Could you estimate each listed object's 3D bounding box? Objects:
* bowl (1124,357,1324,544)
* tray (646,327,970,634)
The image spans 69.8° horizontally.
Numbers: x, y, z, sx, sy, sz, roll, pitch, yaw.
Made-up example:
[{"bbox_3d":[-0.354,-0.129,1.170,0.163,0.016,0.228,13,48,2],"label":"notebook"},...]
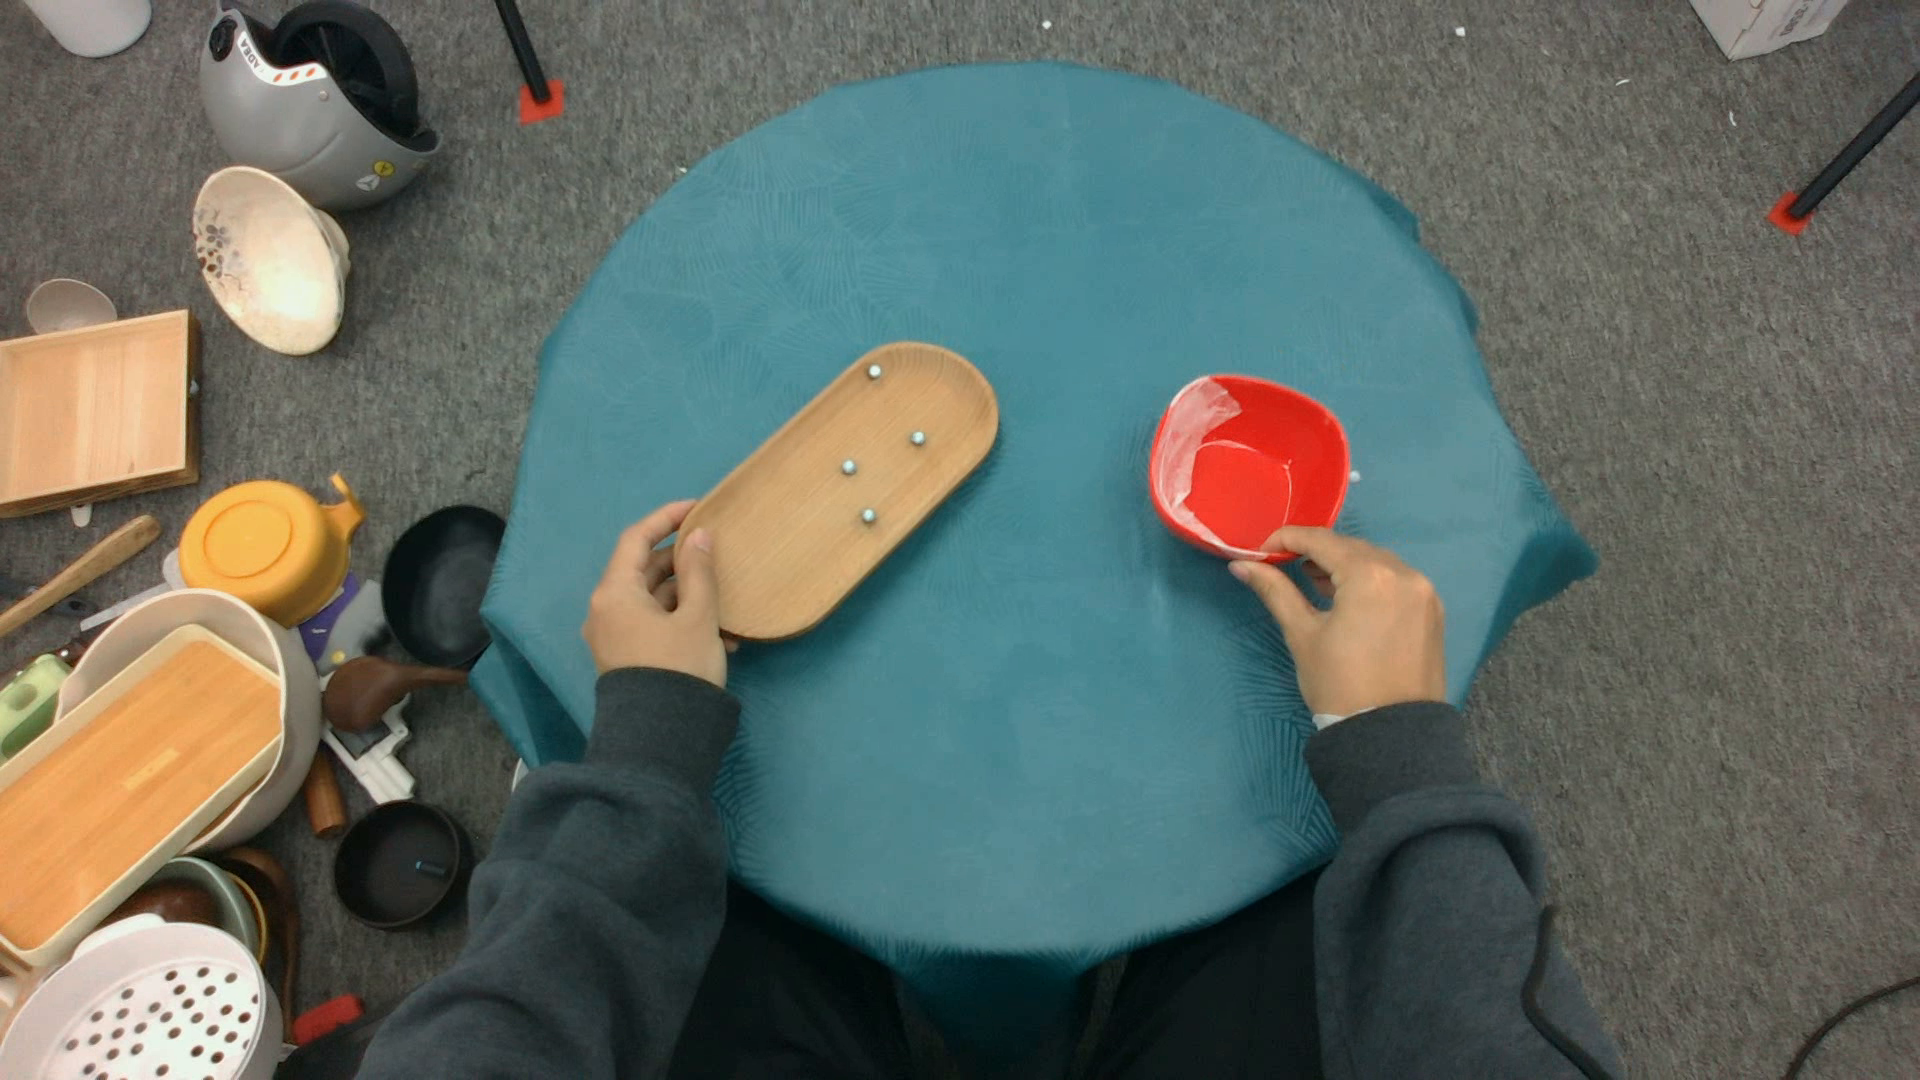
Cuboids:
[{"bbox_3d":[0.147,-0.044,0.791,0.119,0.051,0.119,2,66,-3],"label":"bowl"},{"bbox_3d":[-0.085,-0.039,0.802,0.102,0.020,0.232,37,66,10],"label":"tray"}]
